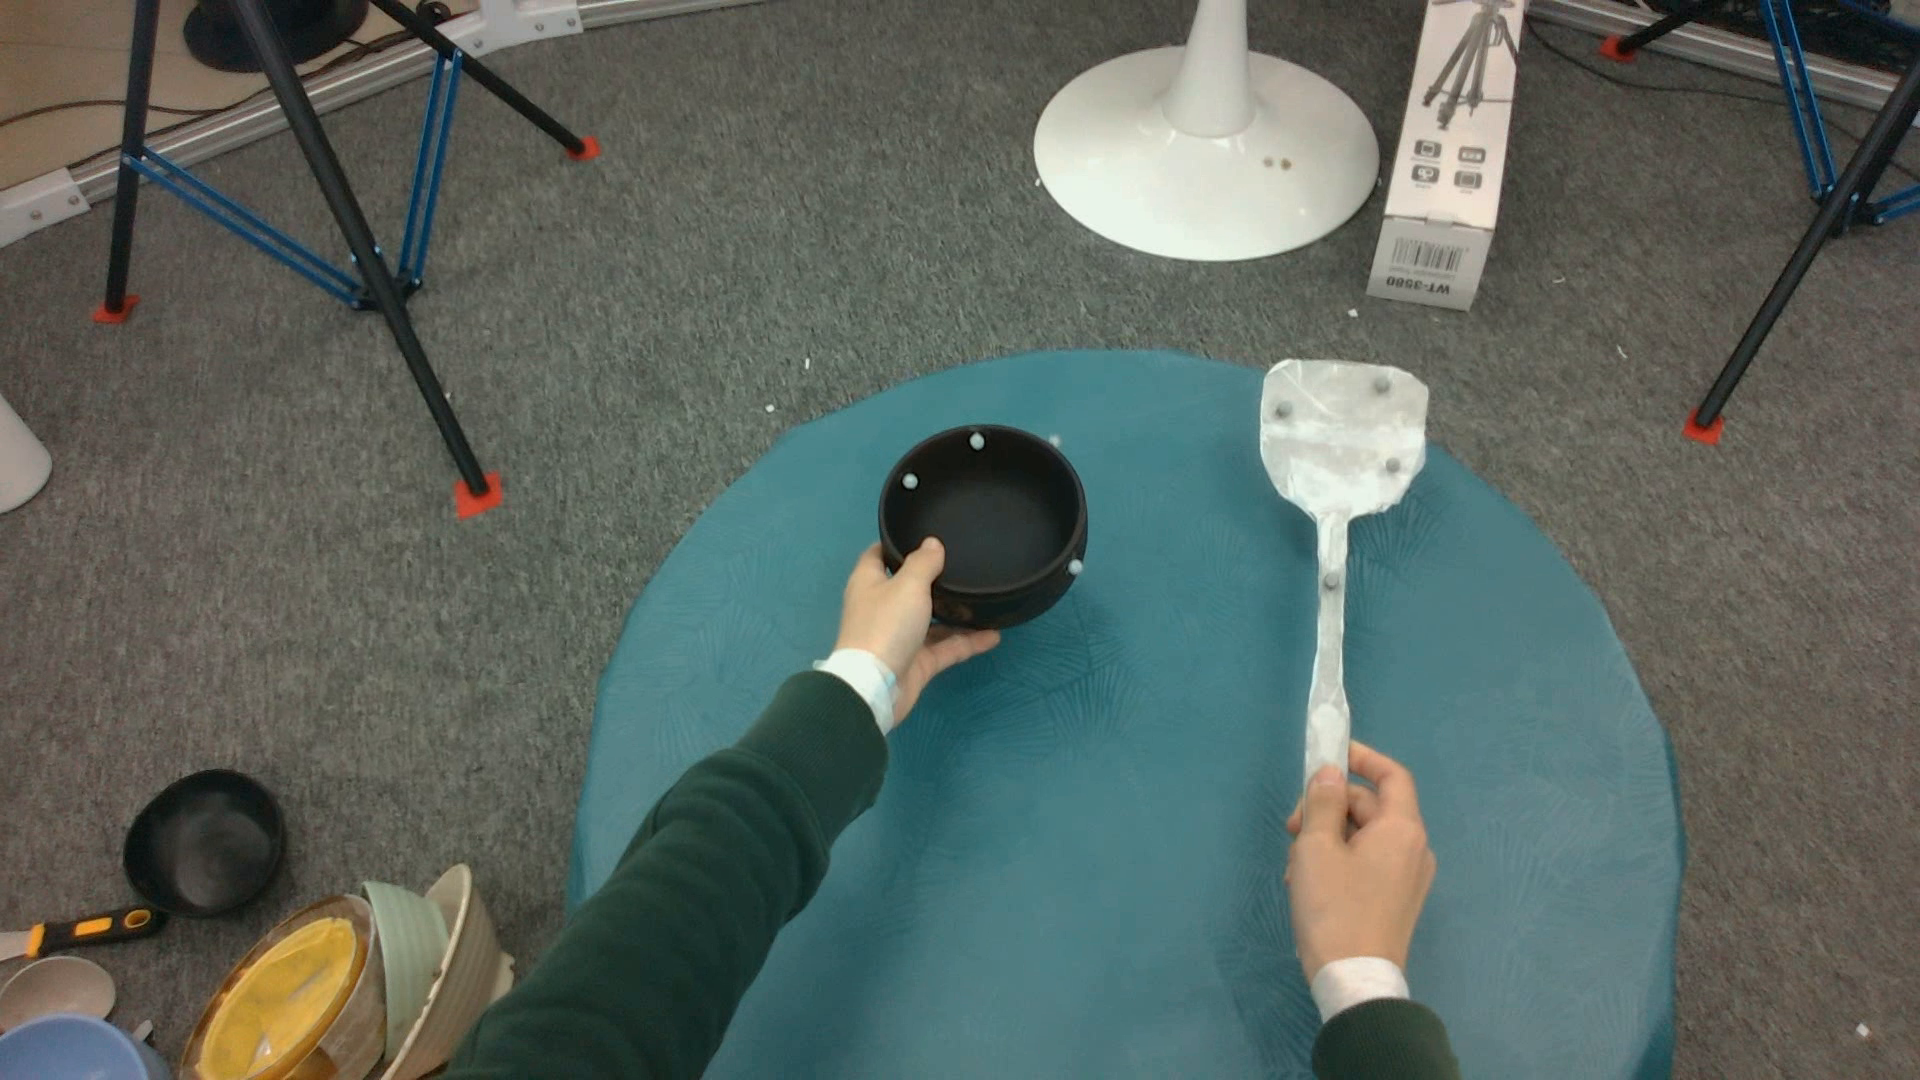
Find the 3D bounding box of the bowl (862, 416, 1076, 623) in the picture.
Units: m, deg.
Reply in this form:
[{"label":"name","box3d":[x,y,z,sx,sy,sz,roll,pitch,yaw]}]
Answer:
[{"label":"bowl","box3d":[0.007,-0.004,0.775,0.118,0.069,0.118,-3,56,4]}]

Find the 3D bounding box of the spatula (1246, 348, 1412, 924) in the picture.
[{"label":"spatula","box3d":[0.192,0.034,0.753,0.098,0.044,0.367,10,51,8]}]
